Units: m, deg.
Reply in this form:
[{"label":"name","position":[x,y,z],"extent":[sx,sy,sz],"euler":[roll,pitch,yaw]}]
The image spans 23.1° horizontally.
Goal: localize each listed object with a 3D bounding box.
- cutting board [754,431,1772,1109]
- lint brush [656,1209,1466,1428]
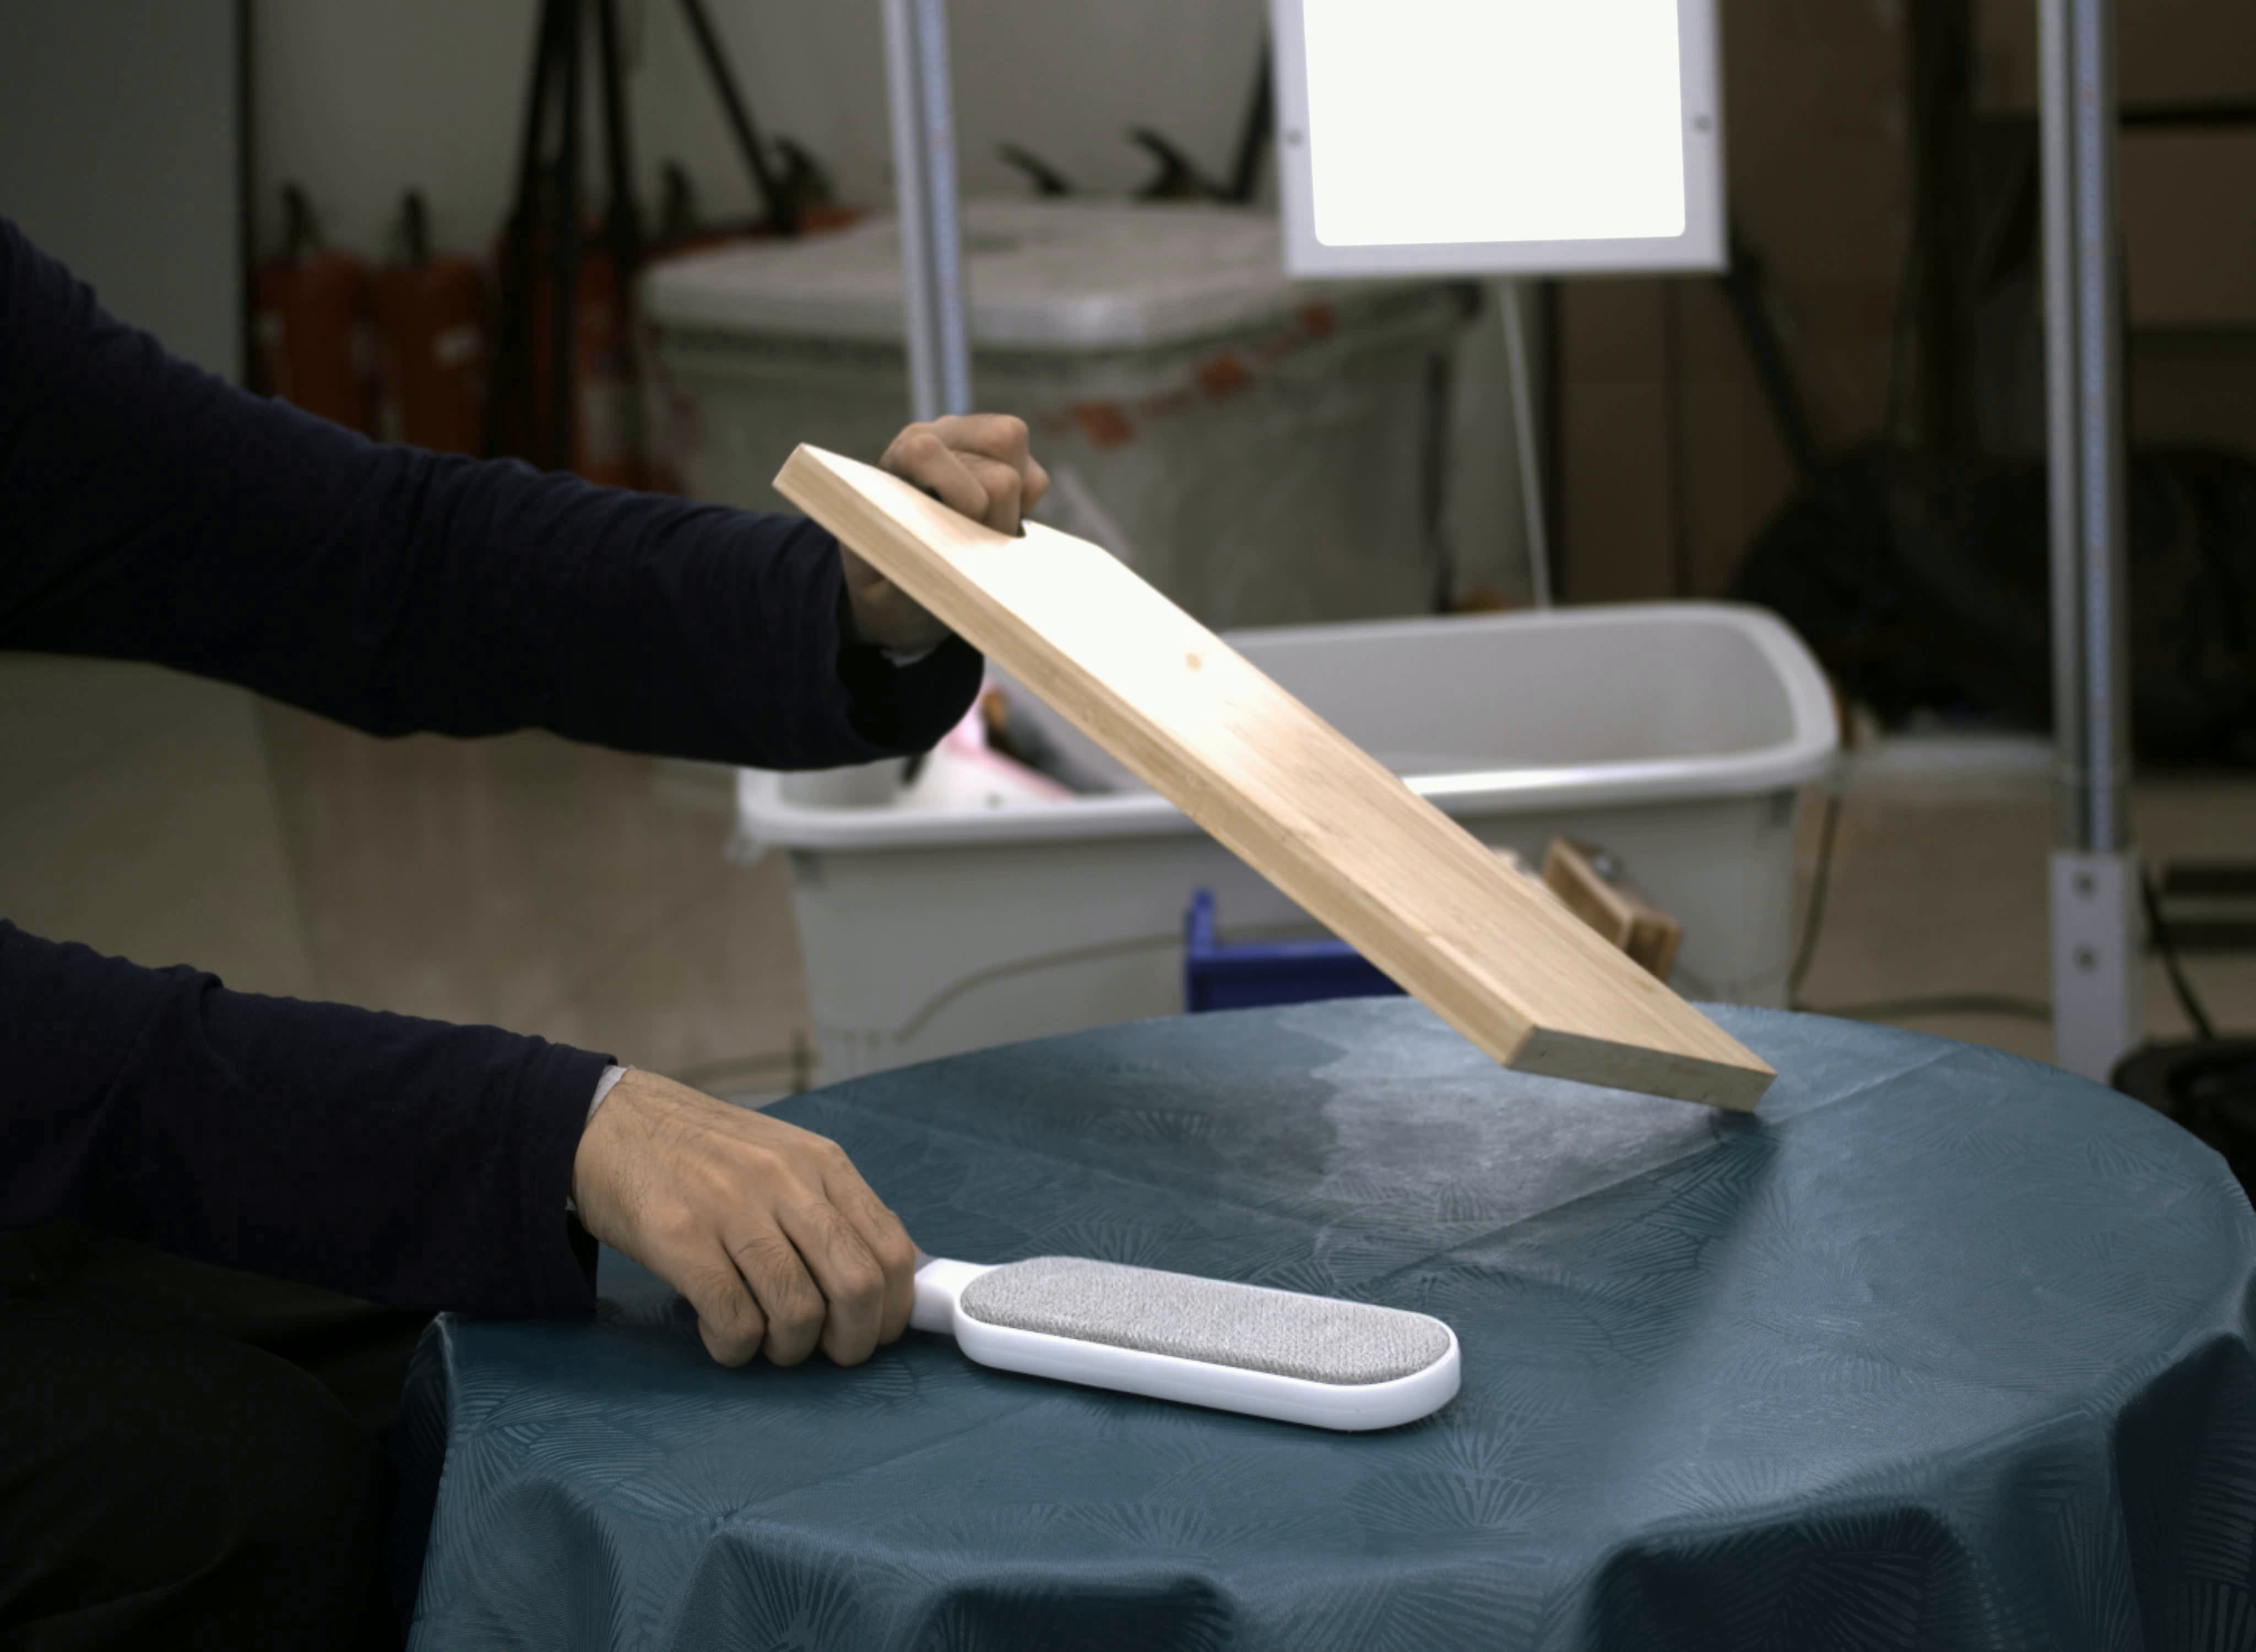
[{"label":"cutting board","position":[0.049,-0.017,1.902],"extent":[0.352,0.024,0.246],"euler":[39,11,24]},{"label":"lint brush","position":[-0.028,0.151,1.742],"extent":[0.315,0.021,0.058],"euler":[7,28,37]}]
